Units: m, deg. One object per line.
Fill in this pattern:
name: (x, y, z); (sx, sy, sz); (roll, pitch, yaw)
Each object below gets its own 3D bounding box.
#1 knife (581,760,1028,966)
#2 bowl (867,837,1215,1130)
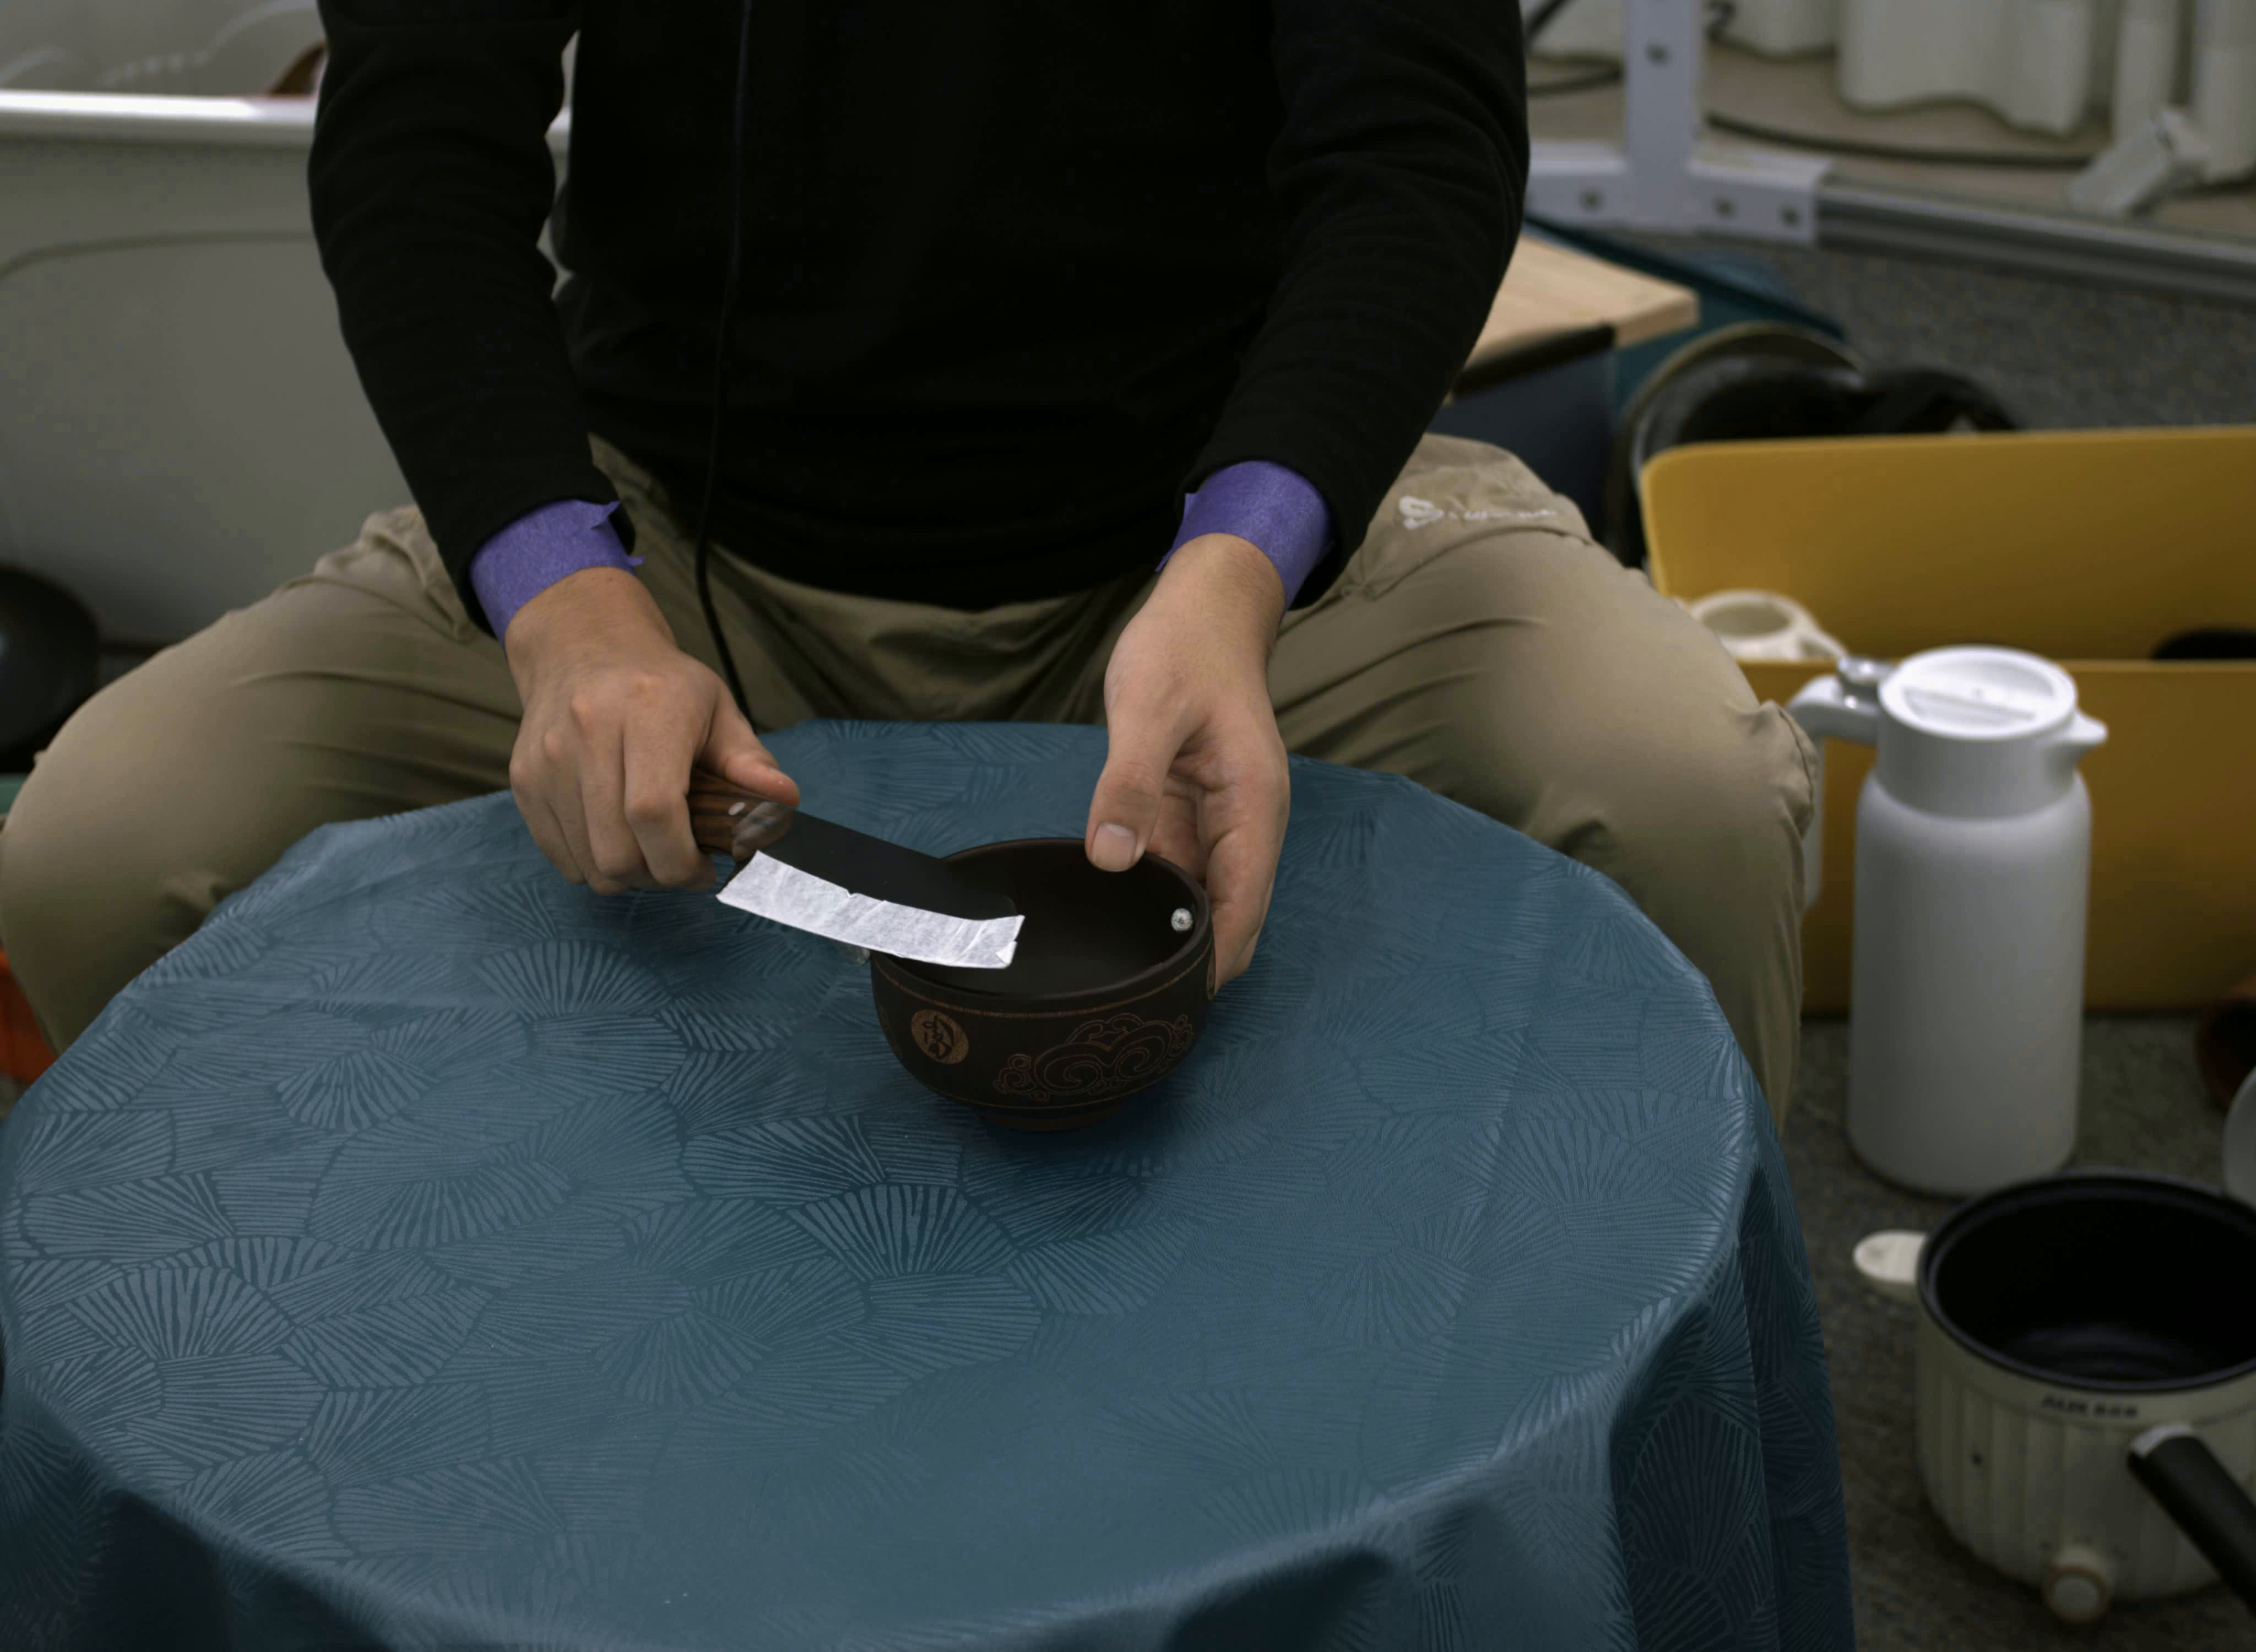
knife: (-0.113, 0.013, 1.936); (0.051, 0.020, 0.288); (-45, 32, -17)
bowl: (-0.029, 0.060, 1.904); (0.117, 0.069, 0.120); (-2, 25, 1)
